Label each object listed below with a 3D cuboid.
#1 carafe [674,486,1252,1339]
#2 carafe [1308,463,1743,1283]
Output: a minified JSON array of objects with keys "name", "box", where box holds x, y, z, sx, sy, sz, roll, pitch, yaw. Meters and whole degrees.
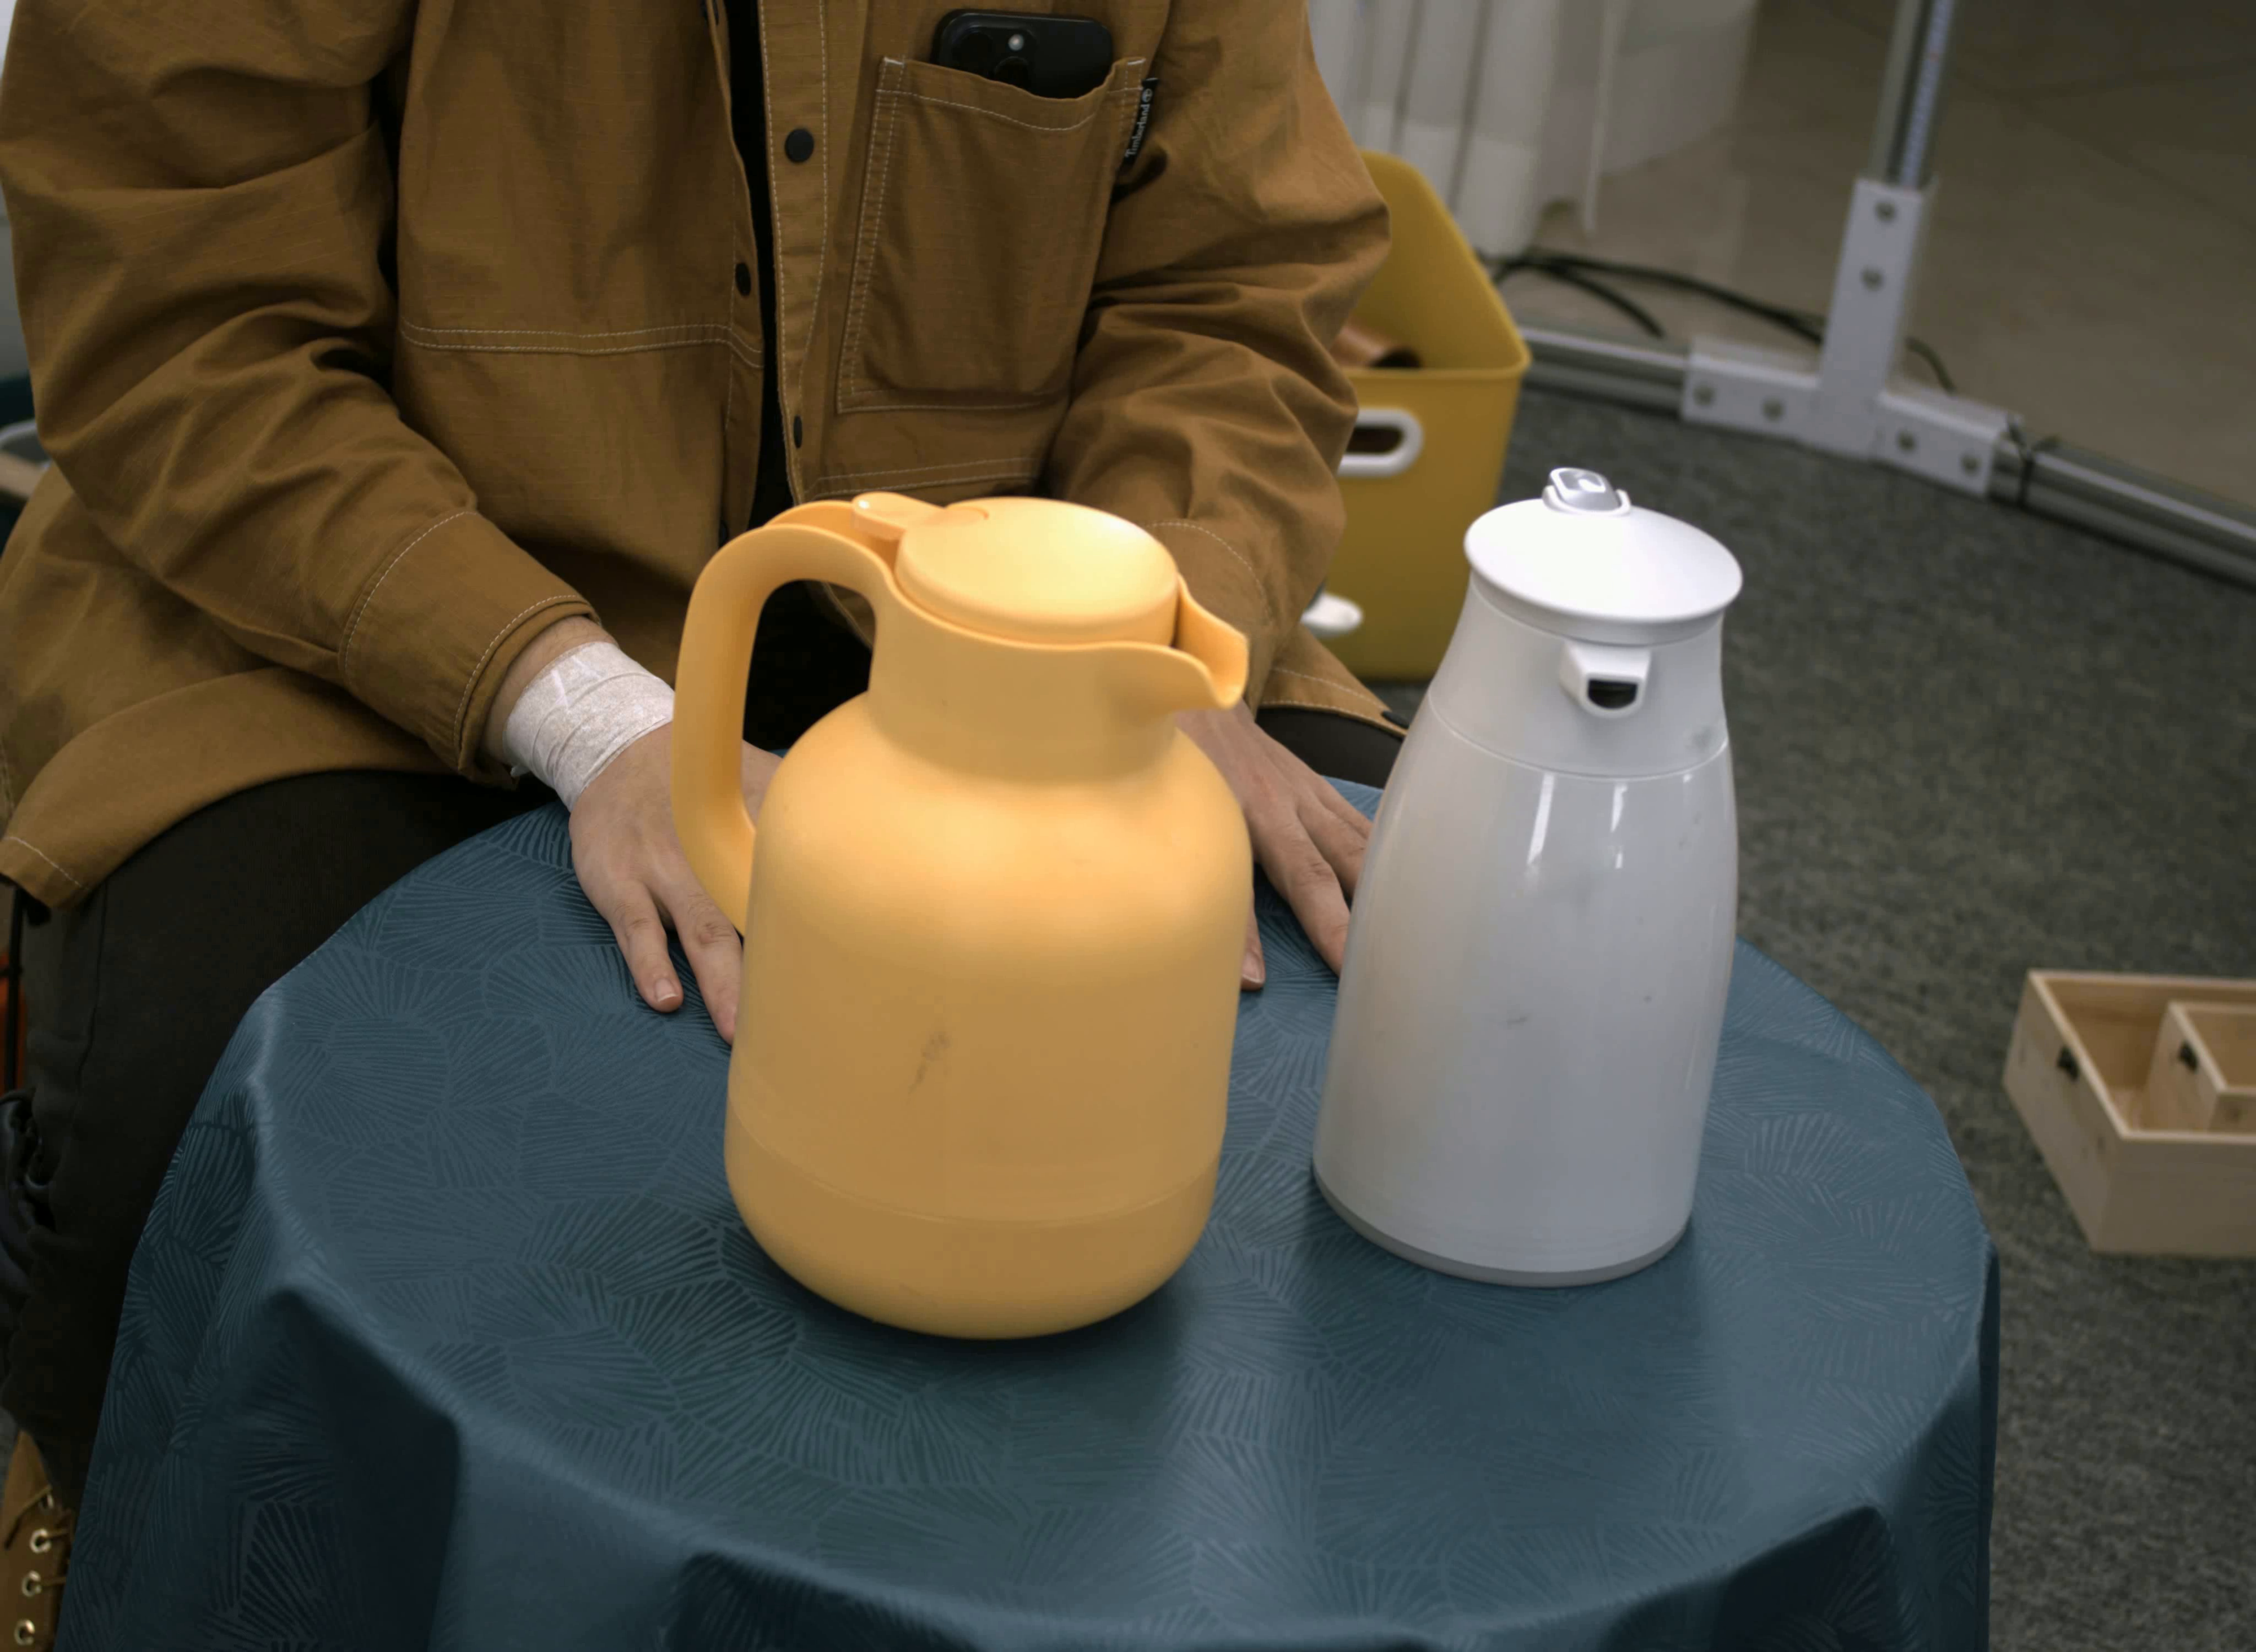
[{"name":"carafe","box":[-0.058,0.017,1.715,0.203,0.260,0.163,22,28,26]},{"name":"carafe","box":[0.139,0.005,1.795,0.132,0.248,0.169,5,26,-4]}]
